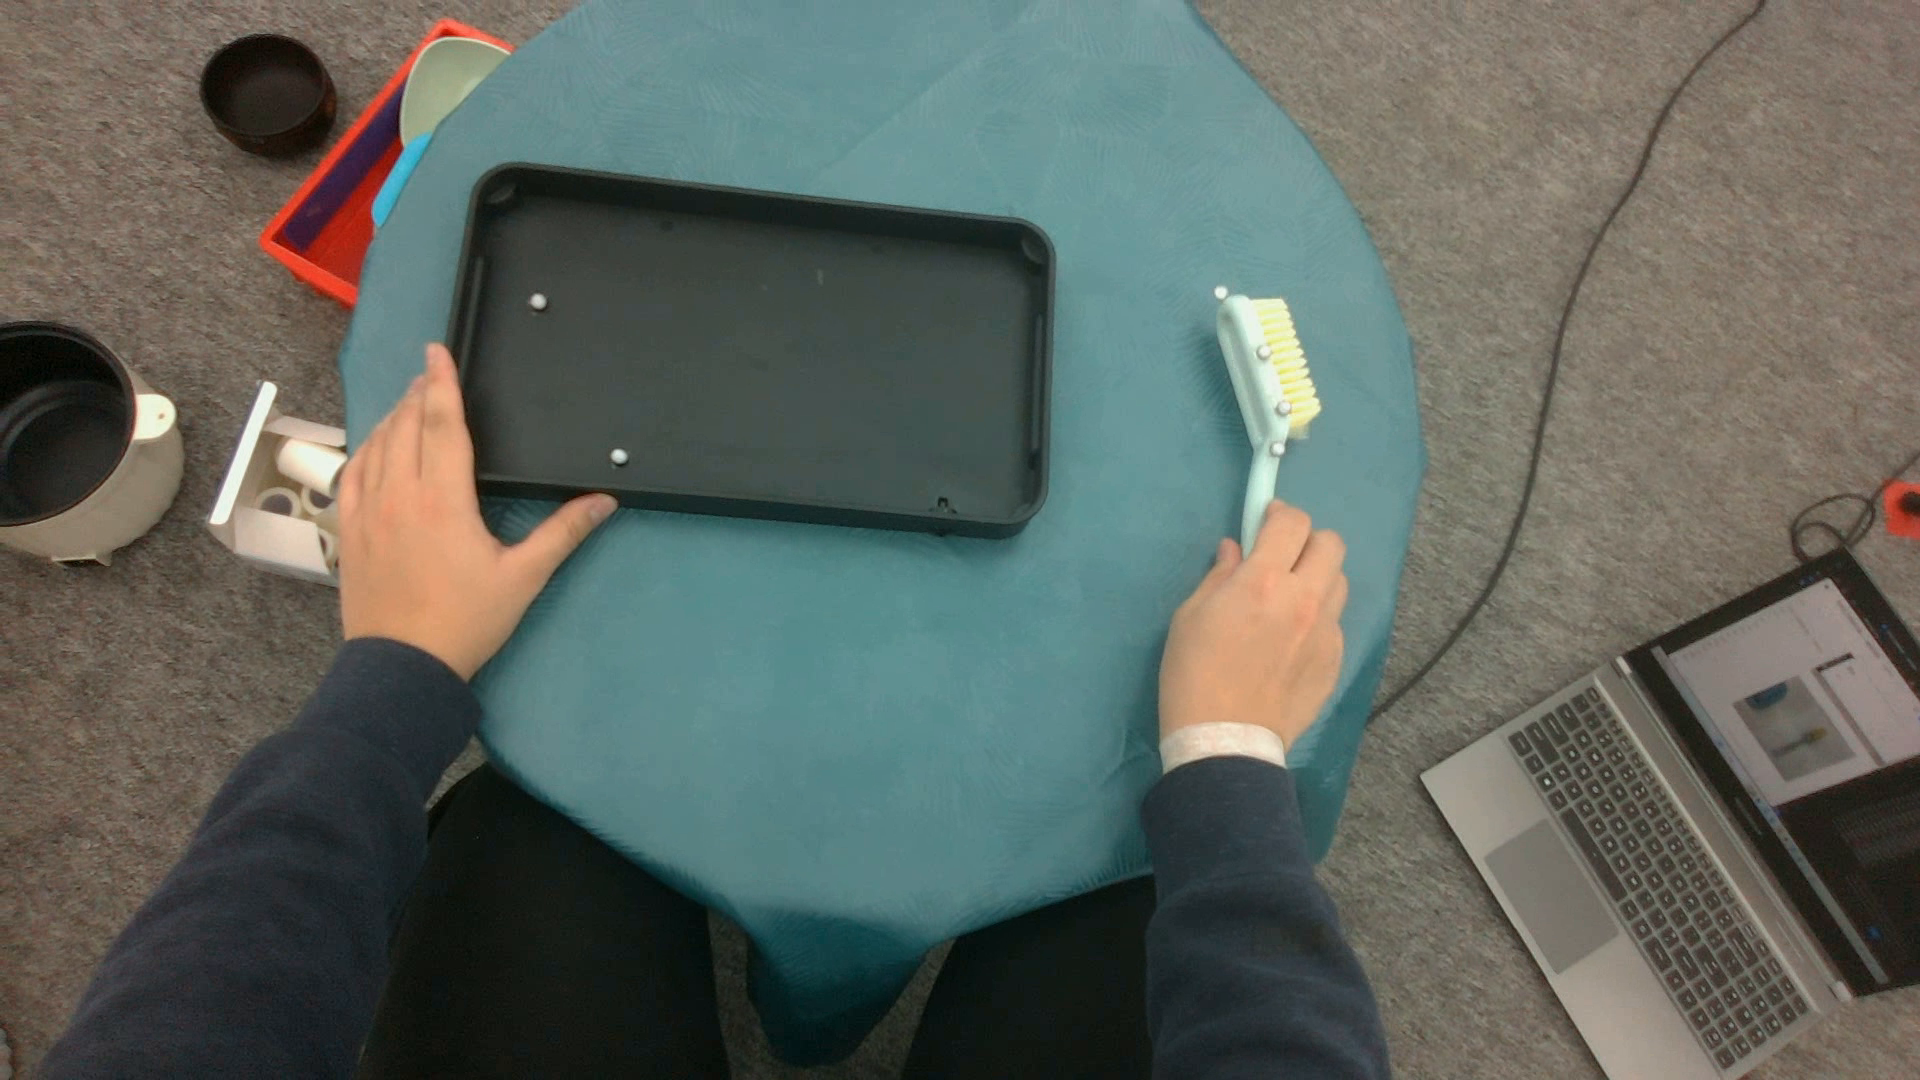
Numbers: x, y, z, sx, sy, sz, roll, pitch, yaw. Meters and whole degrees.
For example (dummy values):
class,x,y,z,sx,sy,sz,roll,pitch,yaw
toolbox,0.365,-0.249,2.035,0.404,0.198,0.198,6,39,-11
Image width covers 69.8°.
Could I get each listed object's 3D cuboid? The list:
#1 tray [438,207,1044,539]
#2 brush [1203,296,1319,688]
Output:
class,x,y,z,sx,sy,sz,roll,pitch,yaw
tray,-0.115,-0.092,0.764,0.318,0.037,0.185,1,72,-5
brush,0.177,-0.032,0.765,0.050,0.037,0.229,-2,71,-13
